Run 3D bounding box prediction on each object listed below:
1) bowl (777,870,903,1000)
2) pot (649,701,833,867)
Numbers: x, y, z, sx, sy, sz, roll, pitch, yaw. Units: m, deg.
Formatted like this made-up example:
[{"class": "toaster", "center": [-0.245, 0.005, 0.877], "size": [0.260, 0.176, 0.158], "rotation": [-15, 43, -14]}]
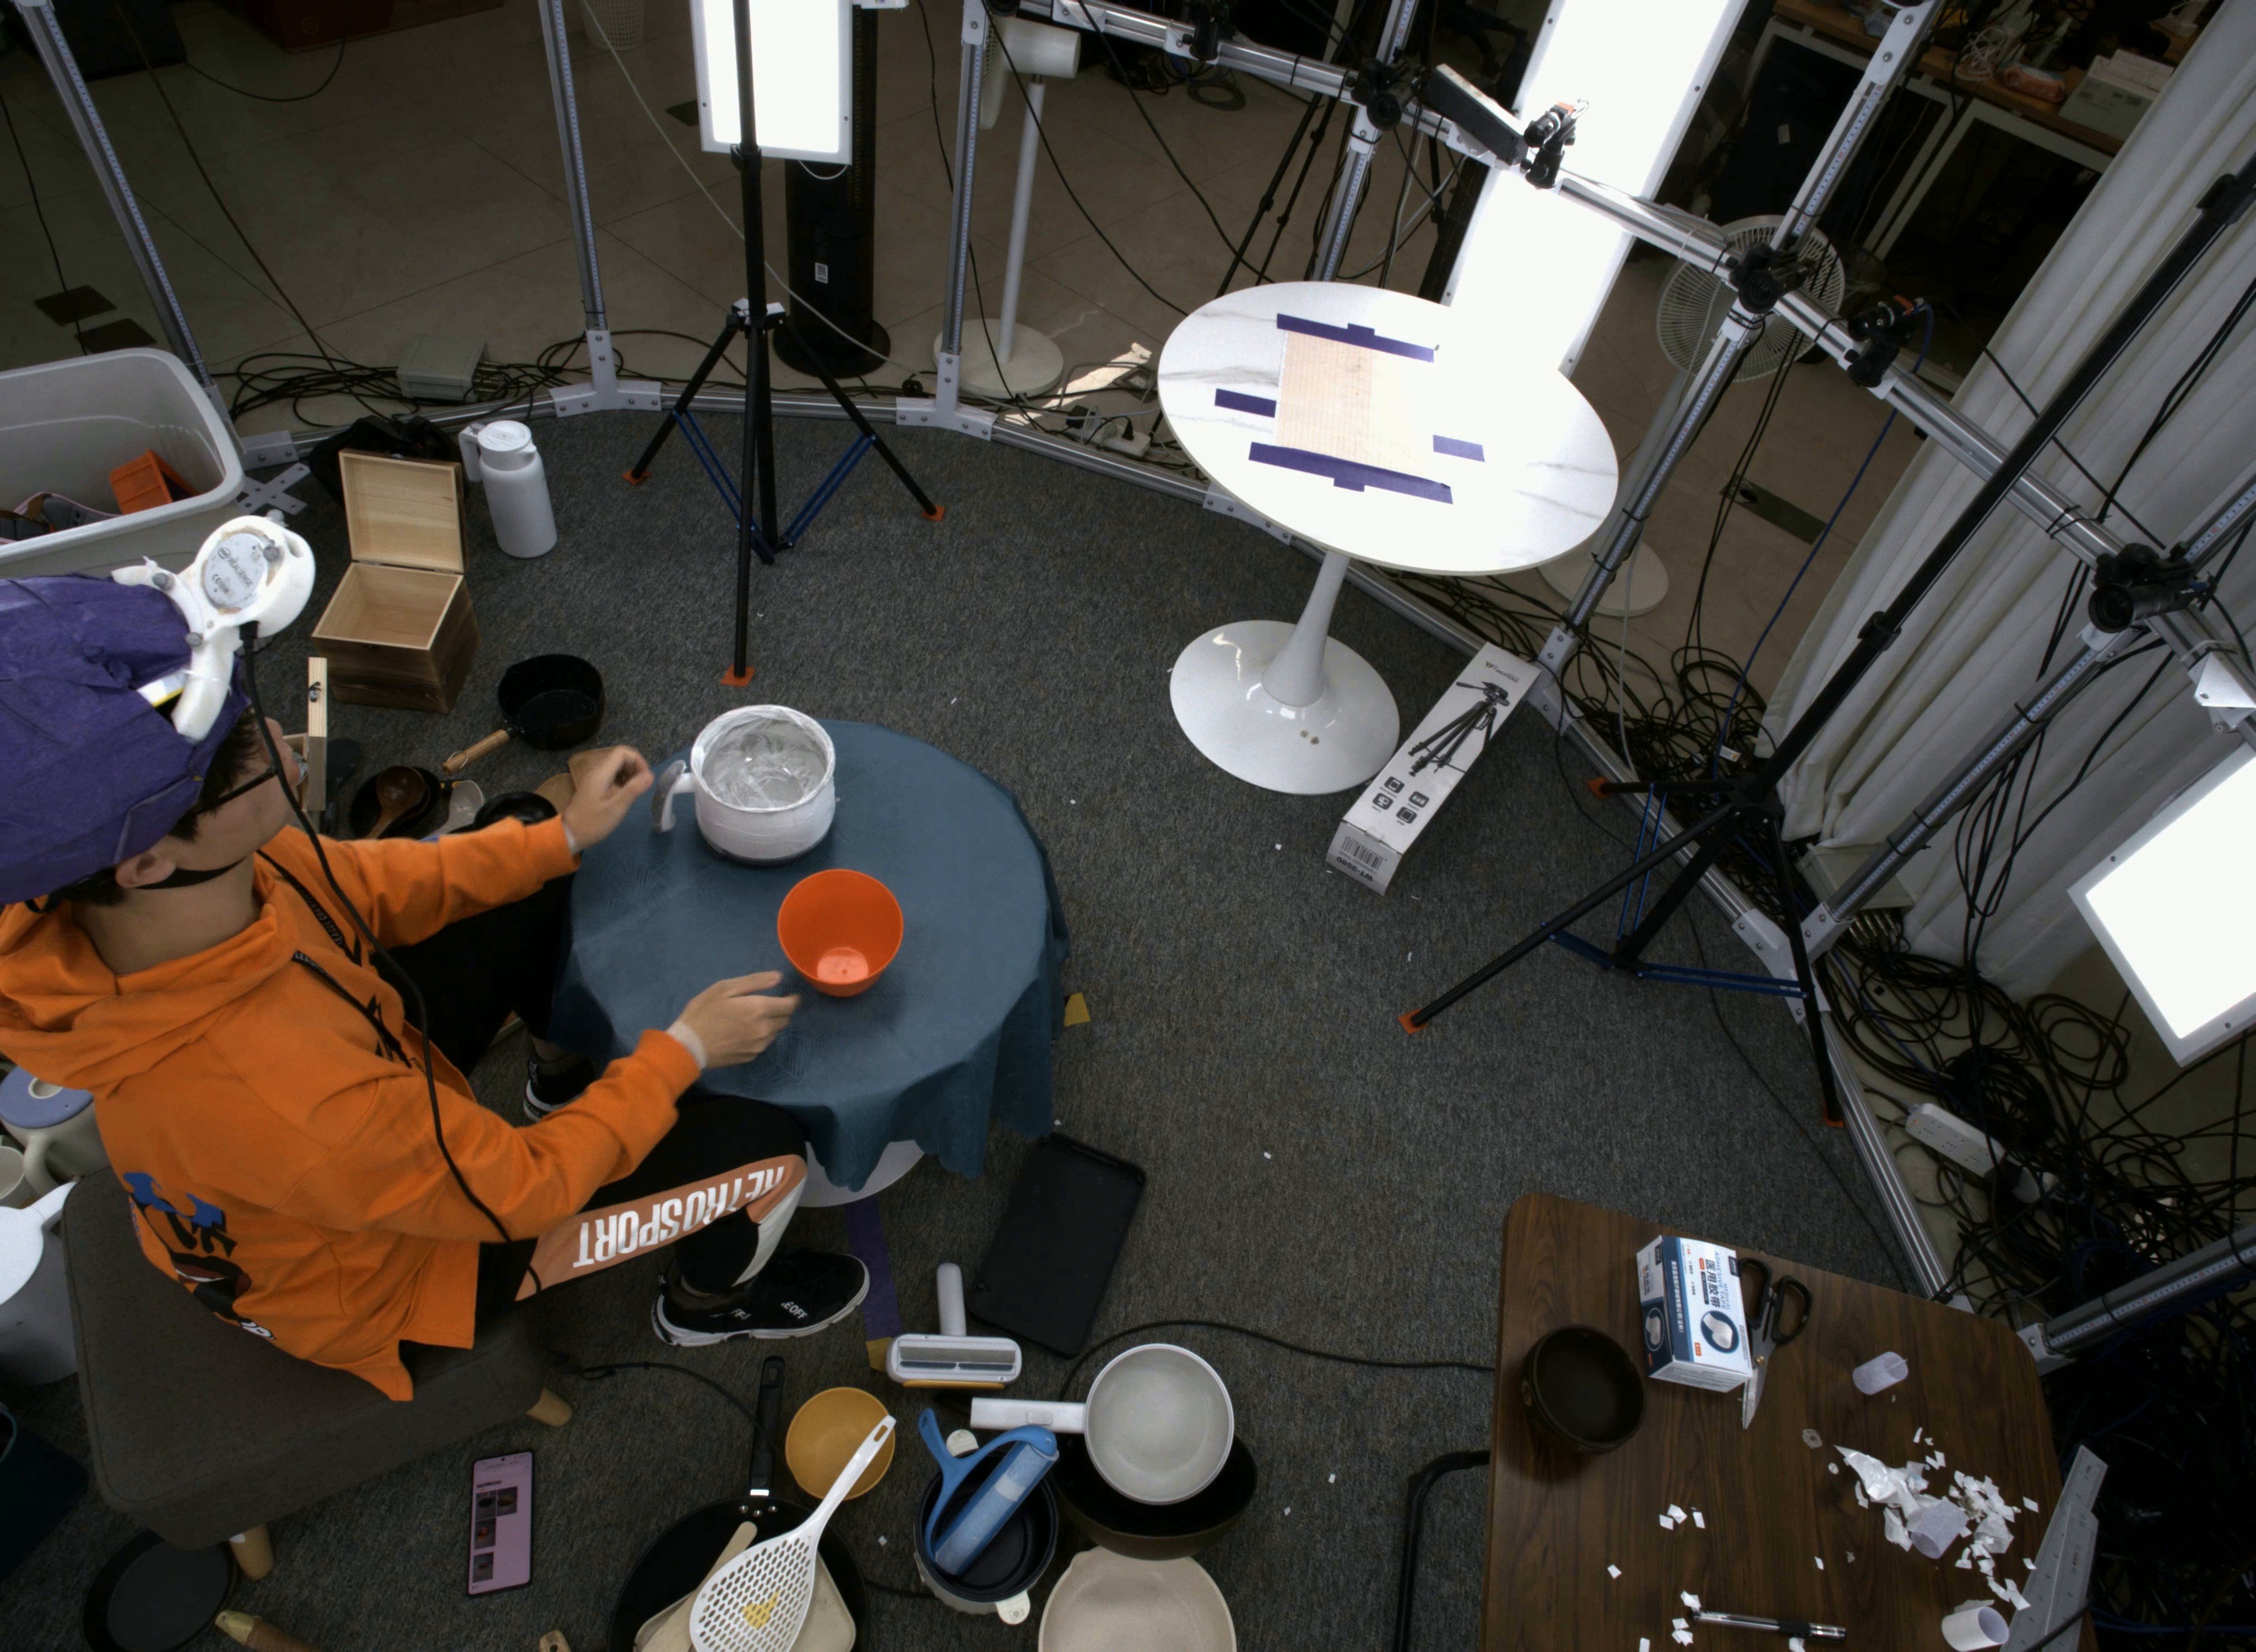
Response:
[{"class": "bowl", "center": [-0.346, 0.142, 1.565], "size": [0.148, 0.106, 0.145], "rotation": [8, 53, -9]}, {"class": "pot", "center": [-0.492, -0.045, 1.641], "size": [0.235, 0.139, 0.174], "rotation": [-8, 55, -20]}]
